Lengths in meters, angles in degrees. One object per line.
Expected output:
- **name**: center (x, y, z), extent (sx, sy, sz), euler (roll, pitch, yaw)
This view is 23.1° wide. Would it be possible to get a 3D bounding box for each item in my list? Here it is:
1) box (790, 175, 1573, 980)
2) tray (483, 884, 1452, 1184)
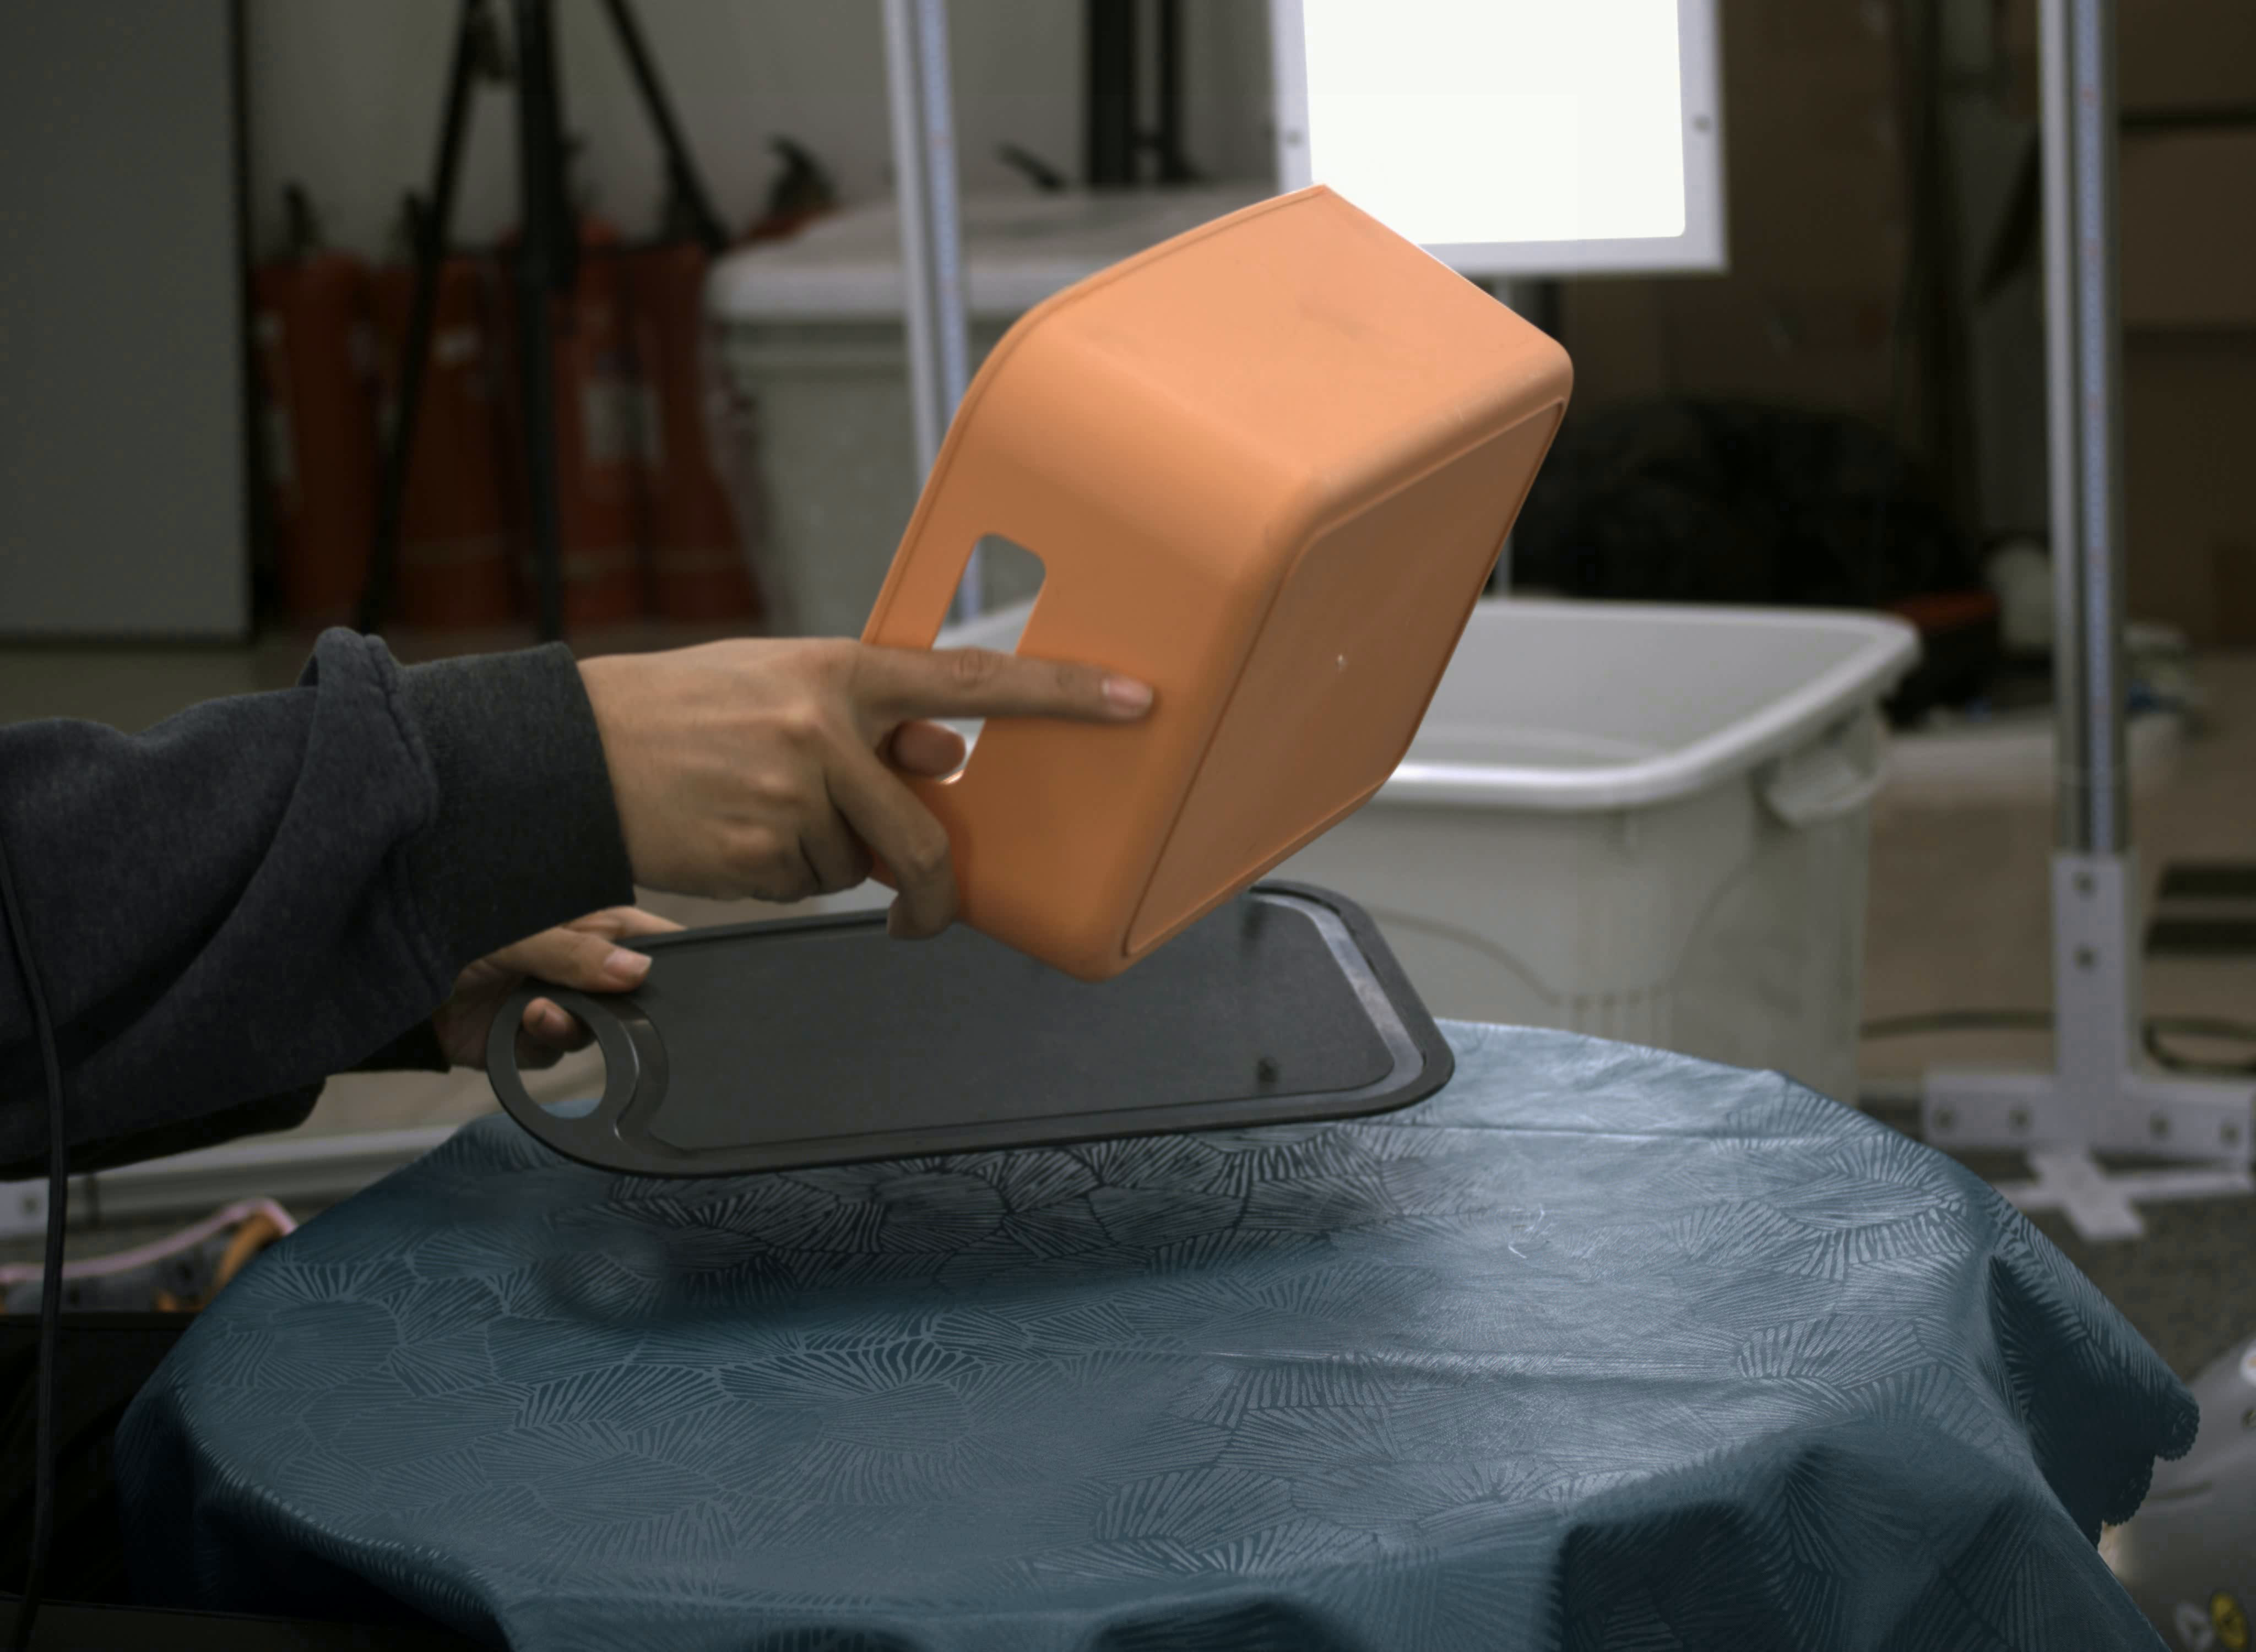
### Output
- **box**: center (0.025, -0.072, 1.652), extent (0.103, 0.202, 0.267), euler (32, 27, 15)
- **tray**: center (-0.060, 0.069, 1.902), extent (0.322, 0.010, 0.212), euler (-5, 22, -8)
